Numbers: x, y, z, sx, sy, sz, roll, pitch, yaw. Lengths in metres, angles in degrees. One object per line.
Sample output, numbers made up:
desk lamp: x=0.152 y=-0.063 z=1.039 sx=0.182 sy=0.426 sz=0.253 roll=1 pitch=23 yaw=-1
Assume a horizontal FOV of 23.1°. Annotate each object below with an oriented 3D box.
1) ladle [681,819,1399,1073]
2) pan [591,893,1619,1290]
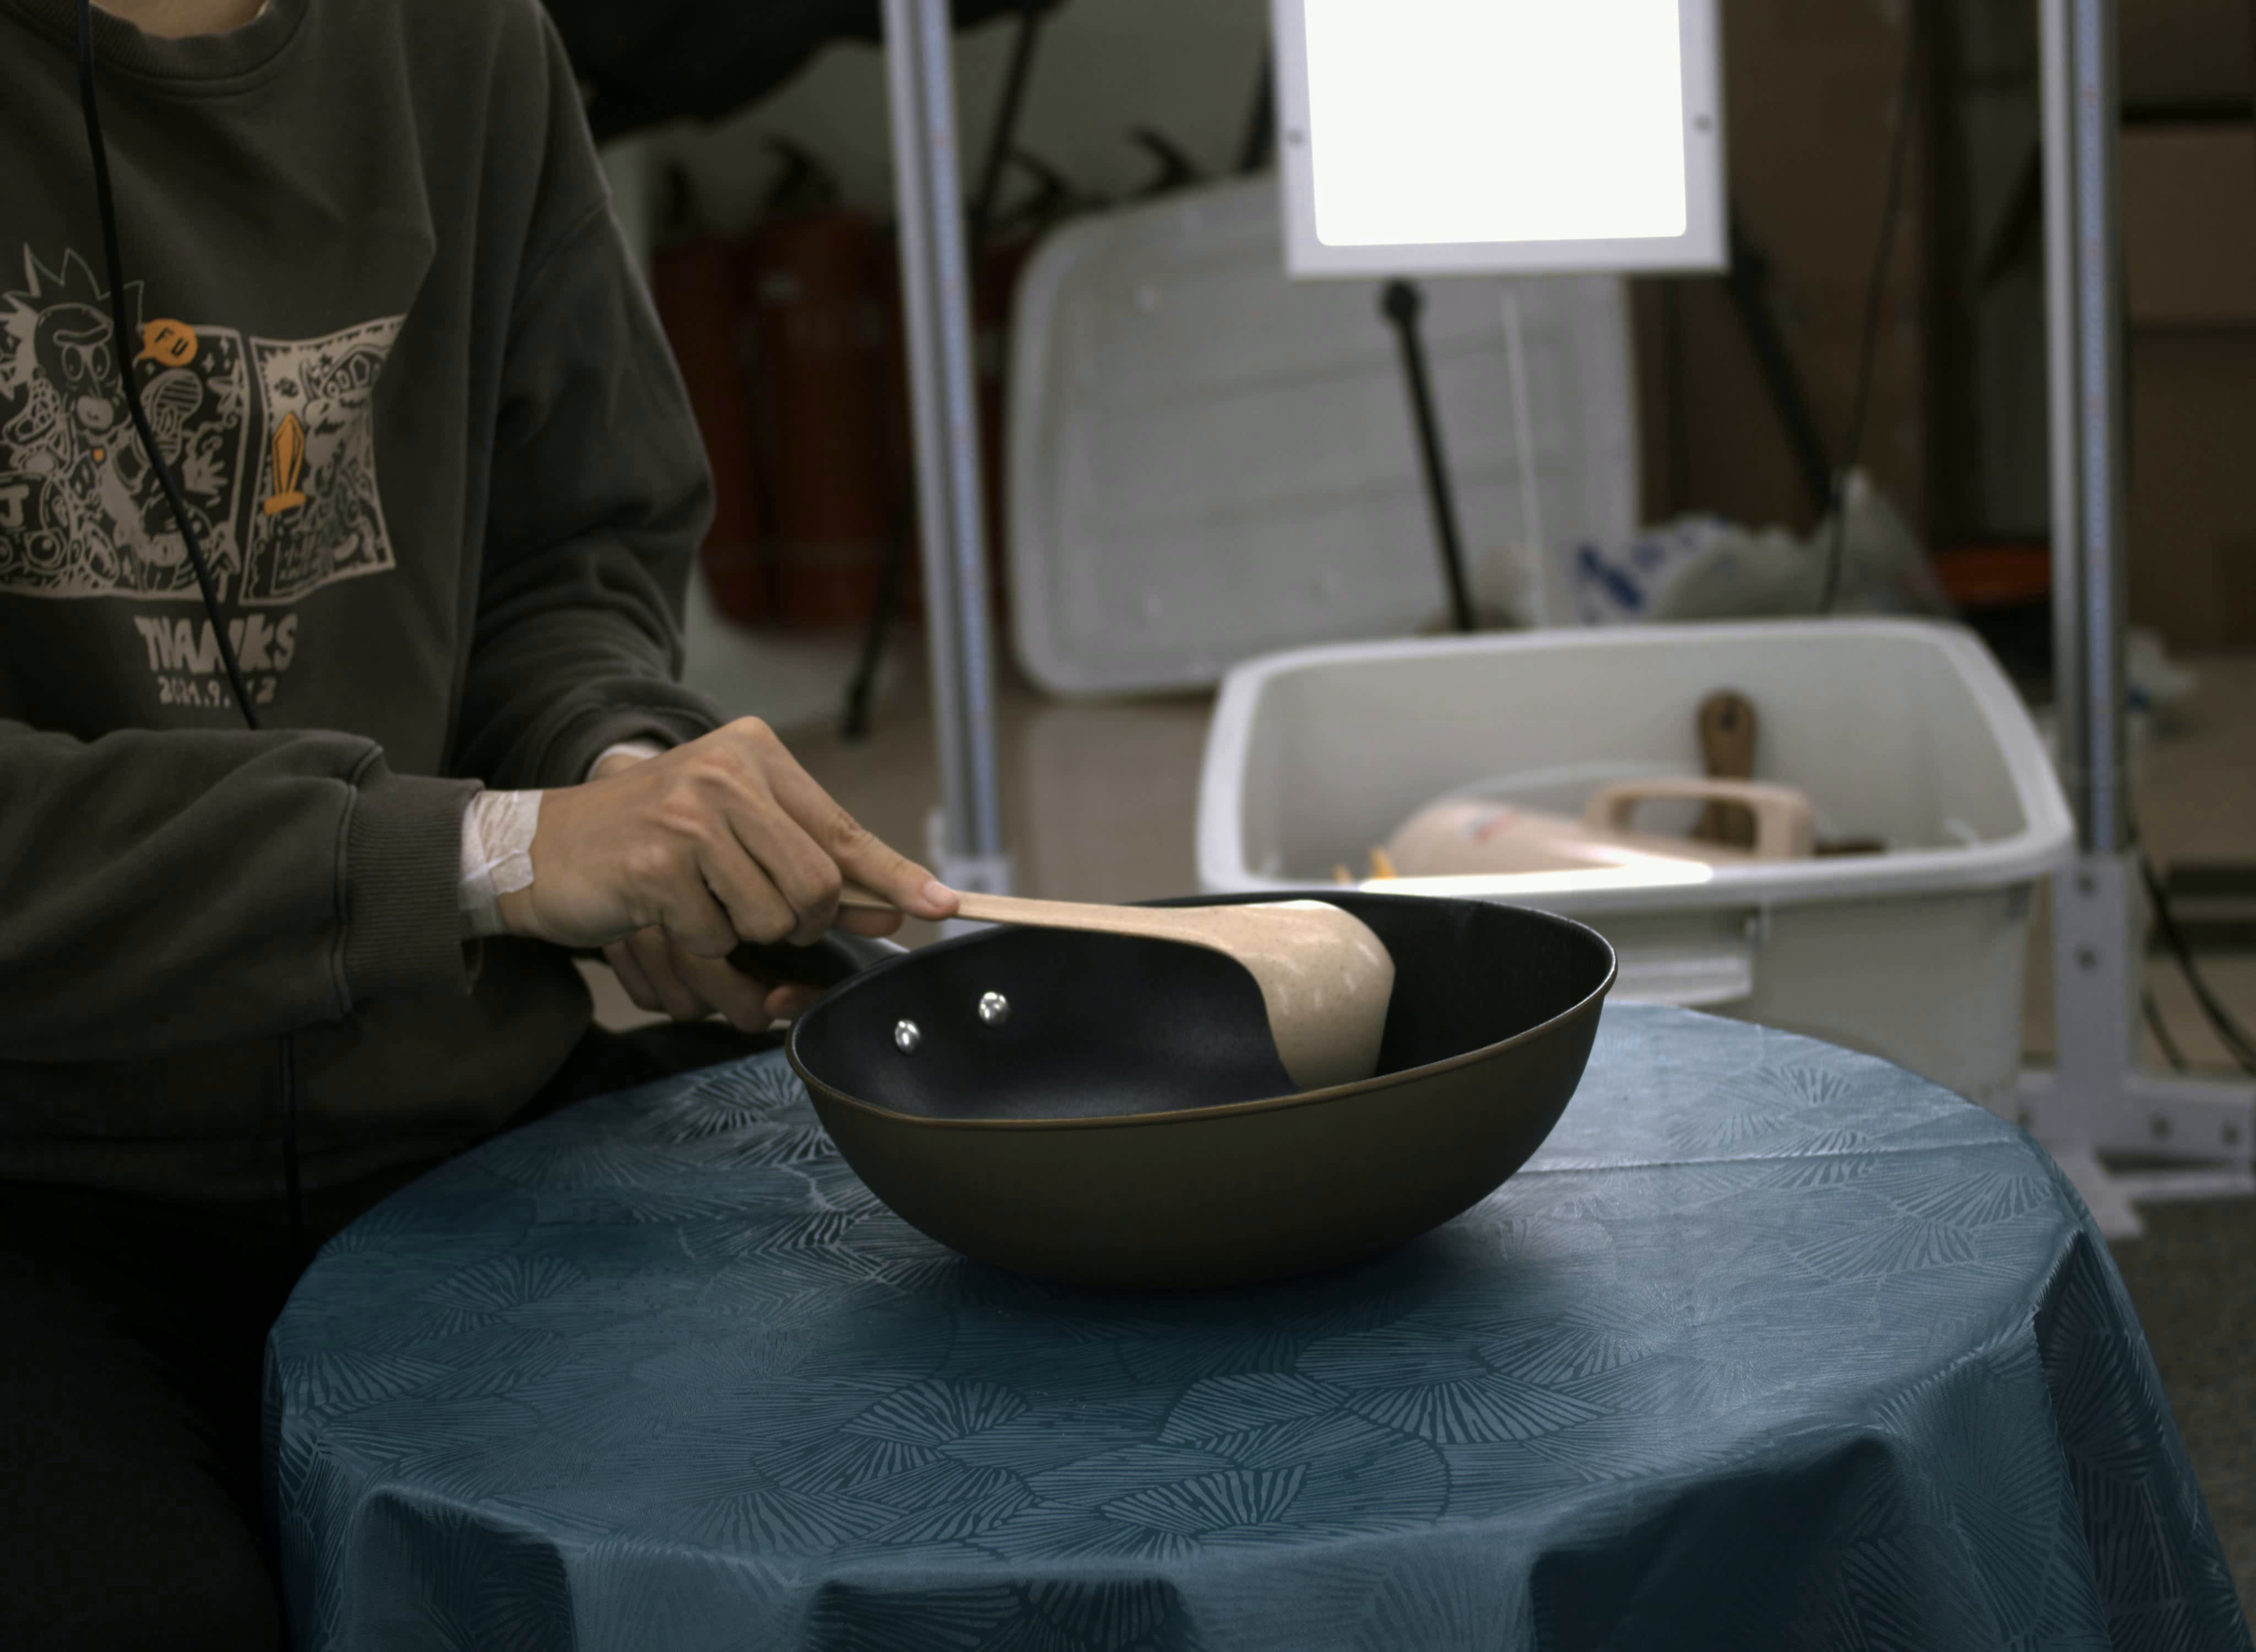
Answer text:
ladle: x=-0.032 y=0.047 z=1.926 sx=0.255 sy=0.073 sz=0.071 roll=9 pitch=47 yaw=10
pan: x=-0.036 y=0.086 z=1.907 sx=0.281 sy=0.087 sz=0.473 roll=-18 pitch=16 yaw=-41
